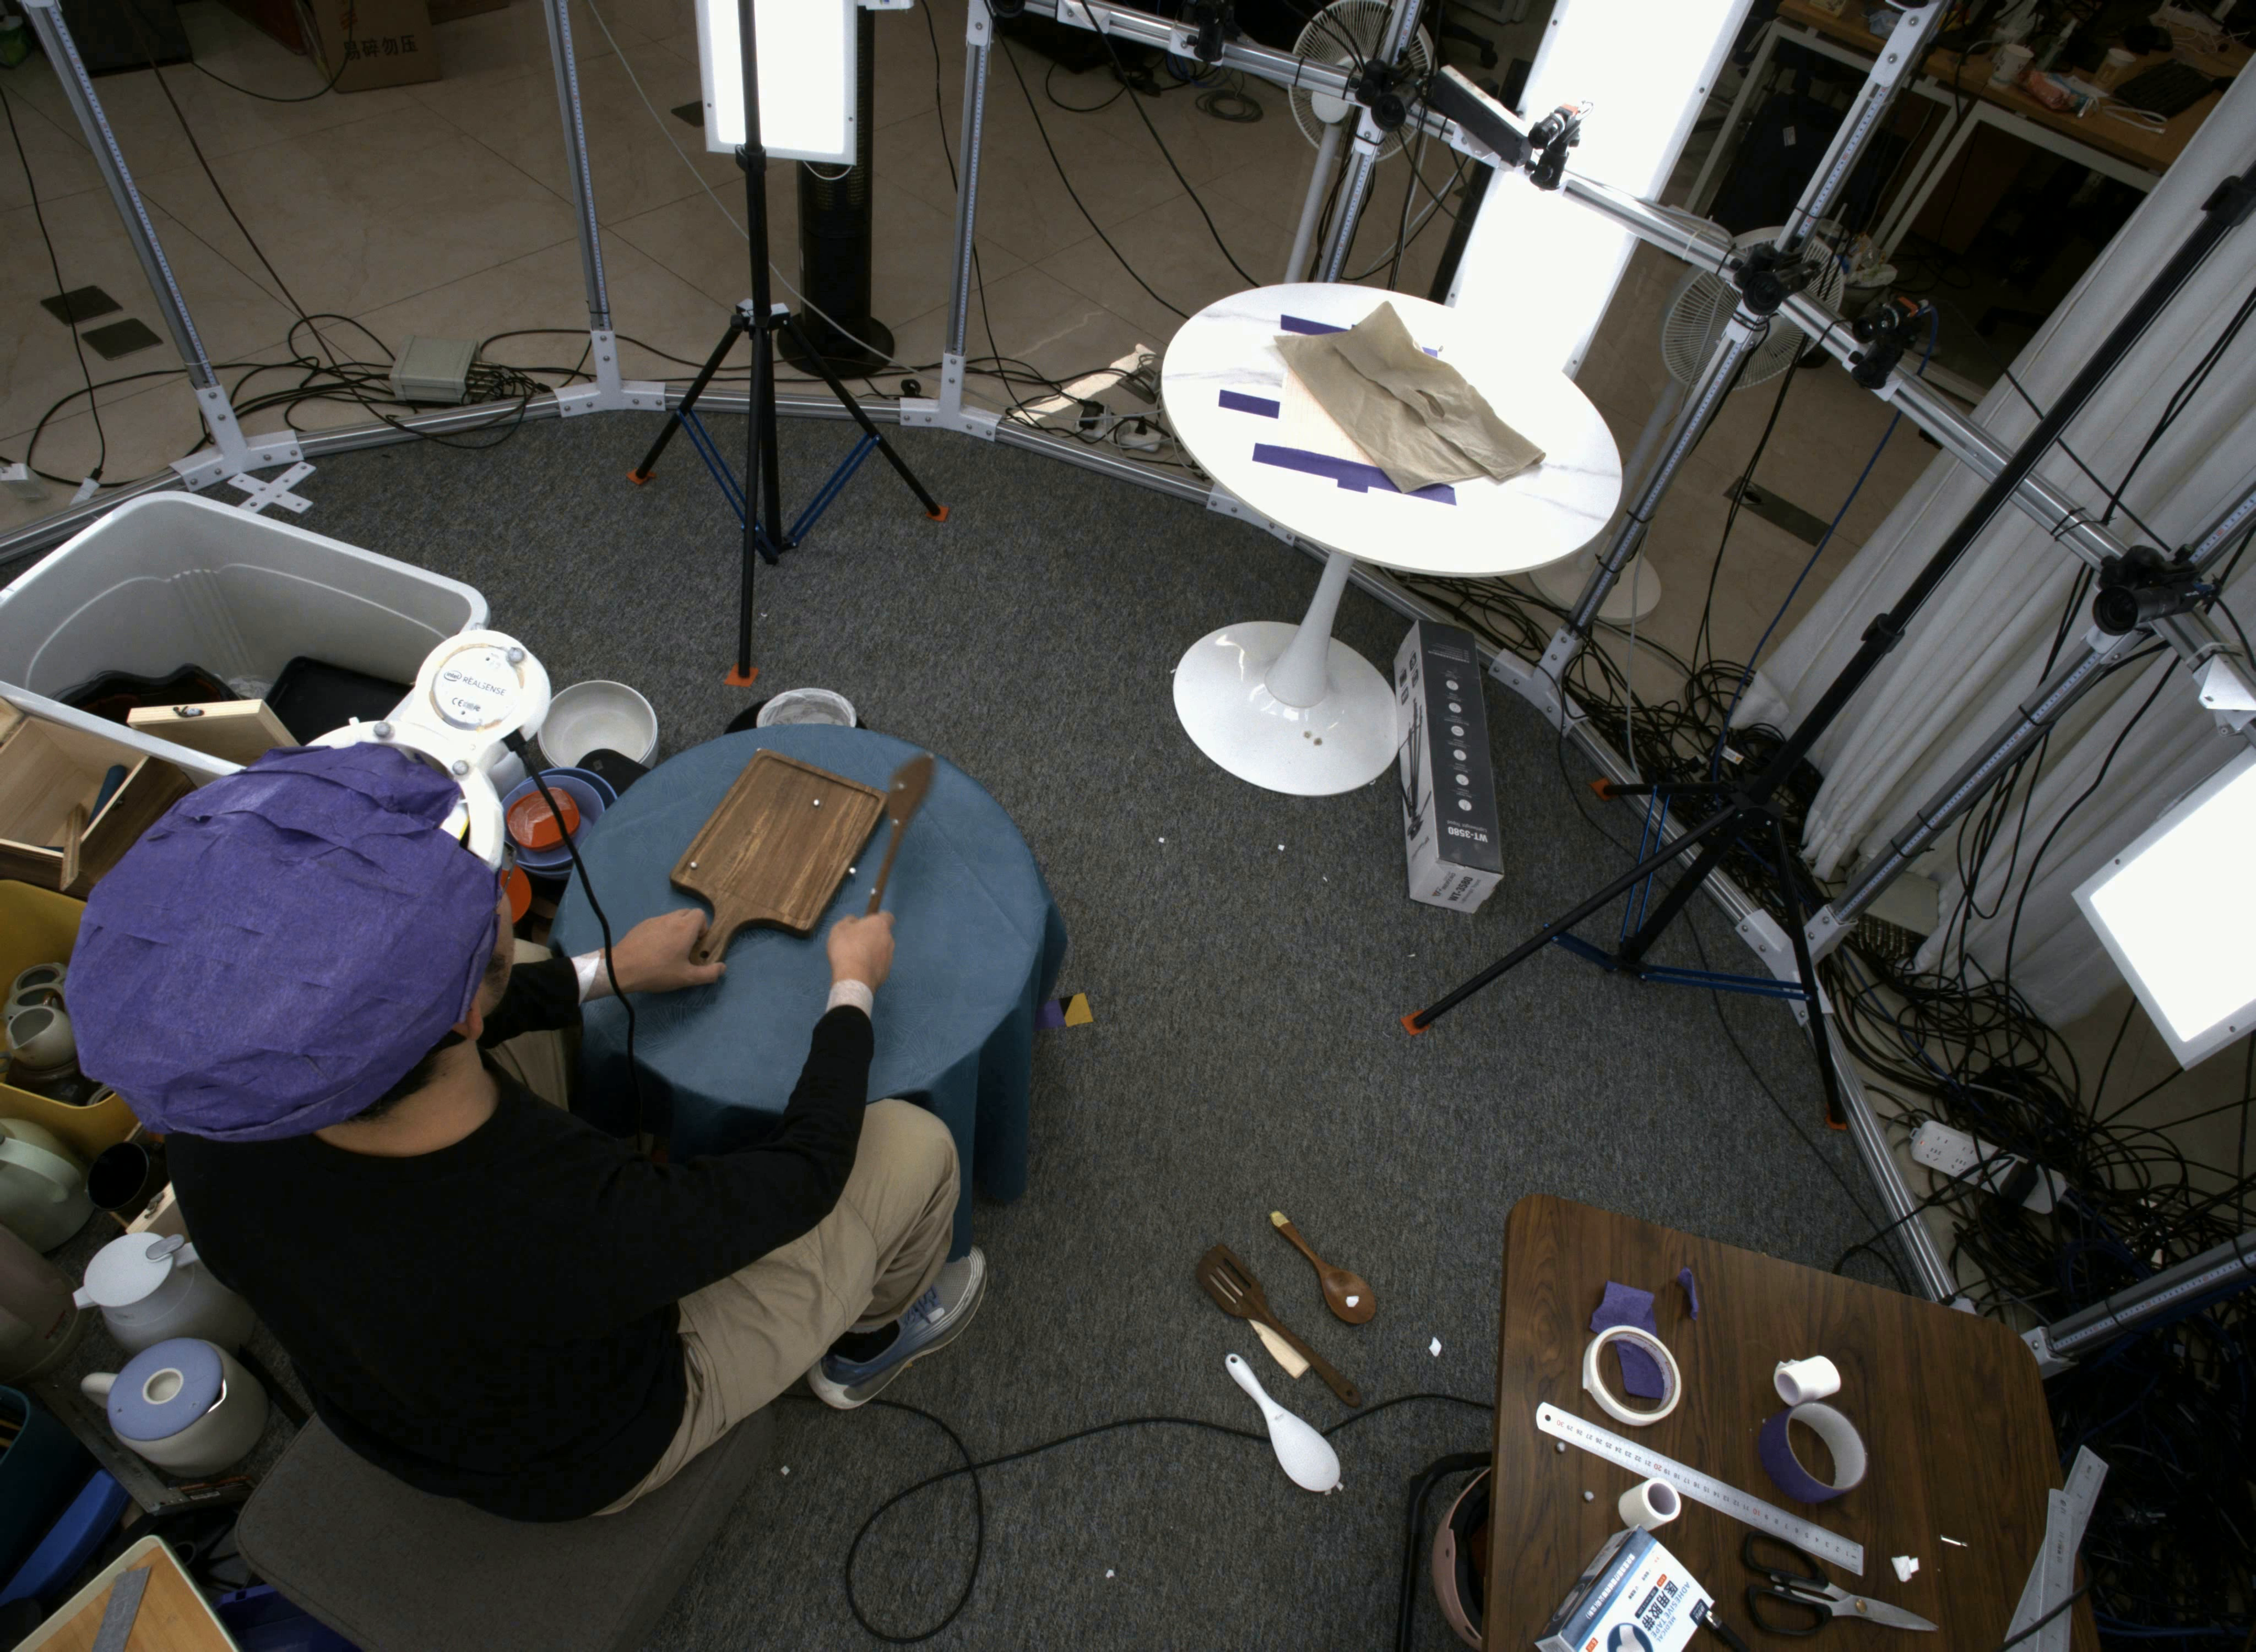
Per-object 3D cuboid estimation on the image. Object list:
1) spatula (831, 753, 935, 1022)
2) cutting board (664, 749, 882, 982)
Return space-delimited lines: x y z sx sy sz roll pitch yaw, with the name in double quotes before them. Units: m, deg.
"spatula" -0.303 0.067 1.587 0.016 0.094 0.381 38 46 -32
"cutting board" -0.470 0.051 1.651 0.199 0.023 0.348 20 50 1
